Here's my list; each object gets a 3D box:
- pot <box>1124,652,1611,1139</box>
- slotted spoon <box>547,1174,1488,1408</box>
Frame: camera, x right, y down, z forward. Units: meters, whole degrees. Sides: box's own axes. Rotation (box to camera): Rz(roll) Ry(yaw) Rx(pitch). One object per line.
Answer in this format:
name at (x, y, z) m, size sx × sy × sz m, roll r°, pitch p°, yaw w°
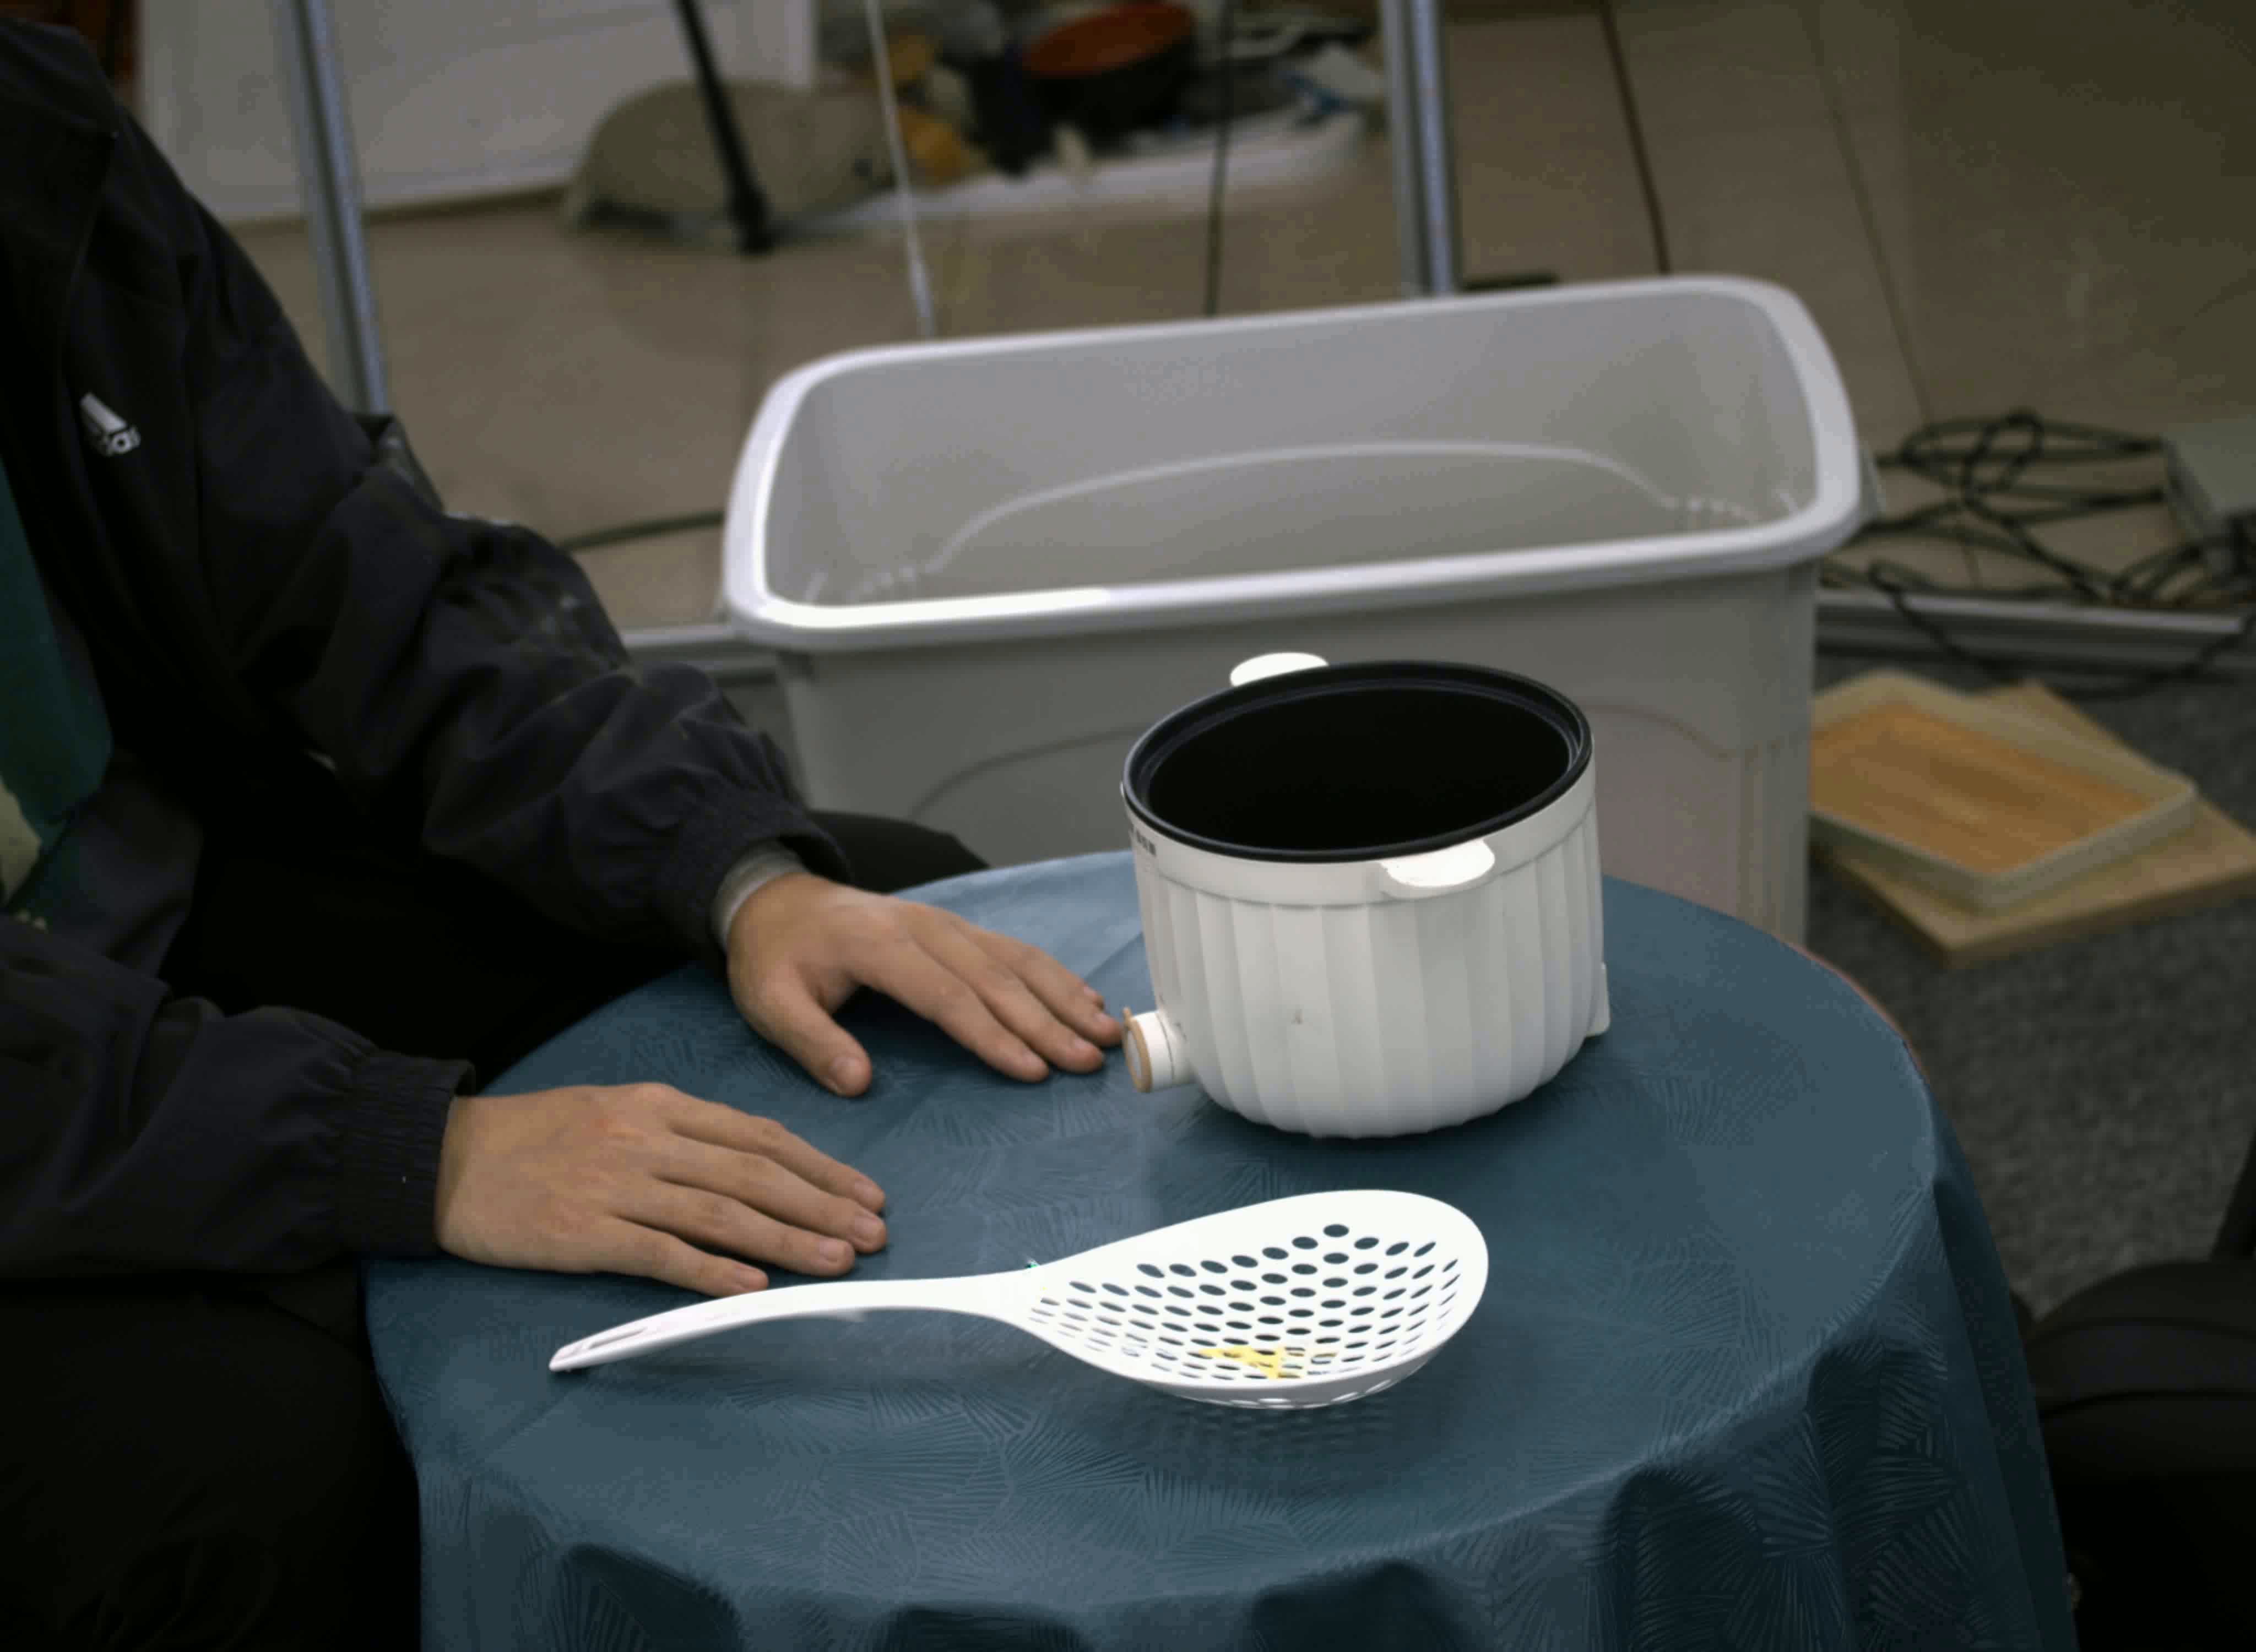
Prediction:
pot at (0.090, 0.034, 2.184) m, size 0.190 × 0.145 × 0.237 m, roll -10°, pitch 24°, yaw -14°
slotted spoon at (-0.043, 0.176, 2.025) m, size 0.347 × 0.051 × 0.135 m, roll 0°, pitch 27°, yaw 13°
